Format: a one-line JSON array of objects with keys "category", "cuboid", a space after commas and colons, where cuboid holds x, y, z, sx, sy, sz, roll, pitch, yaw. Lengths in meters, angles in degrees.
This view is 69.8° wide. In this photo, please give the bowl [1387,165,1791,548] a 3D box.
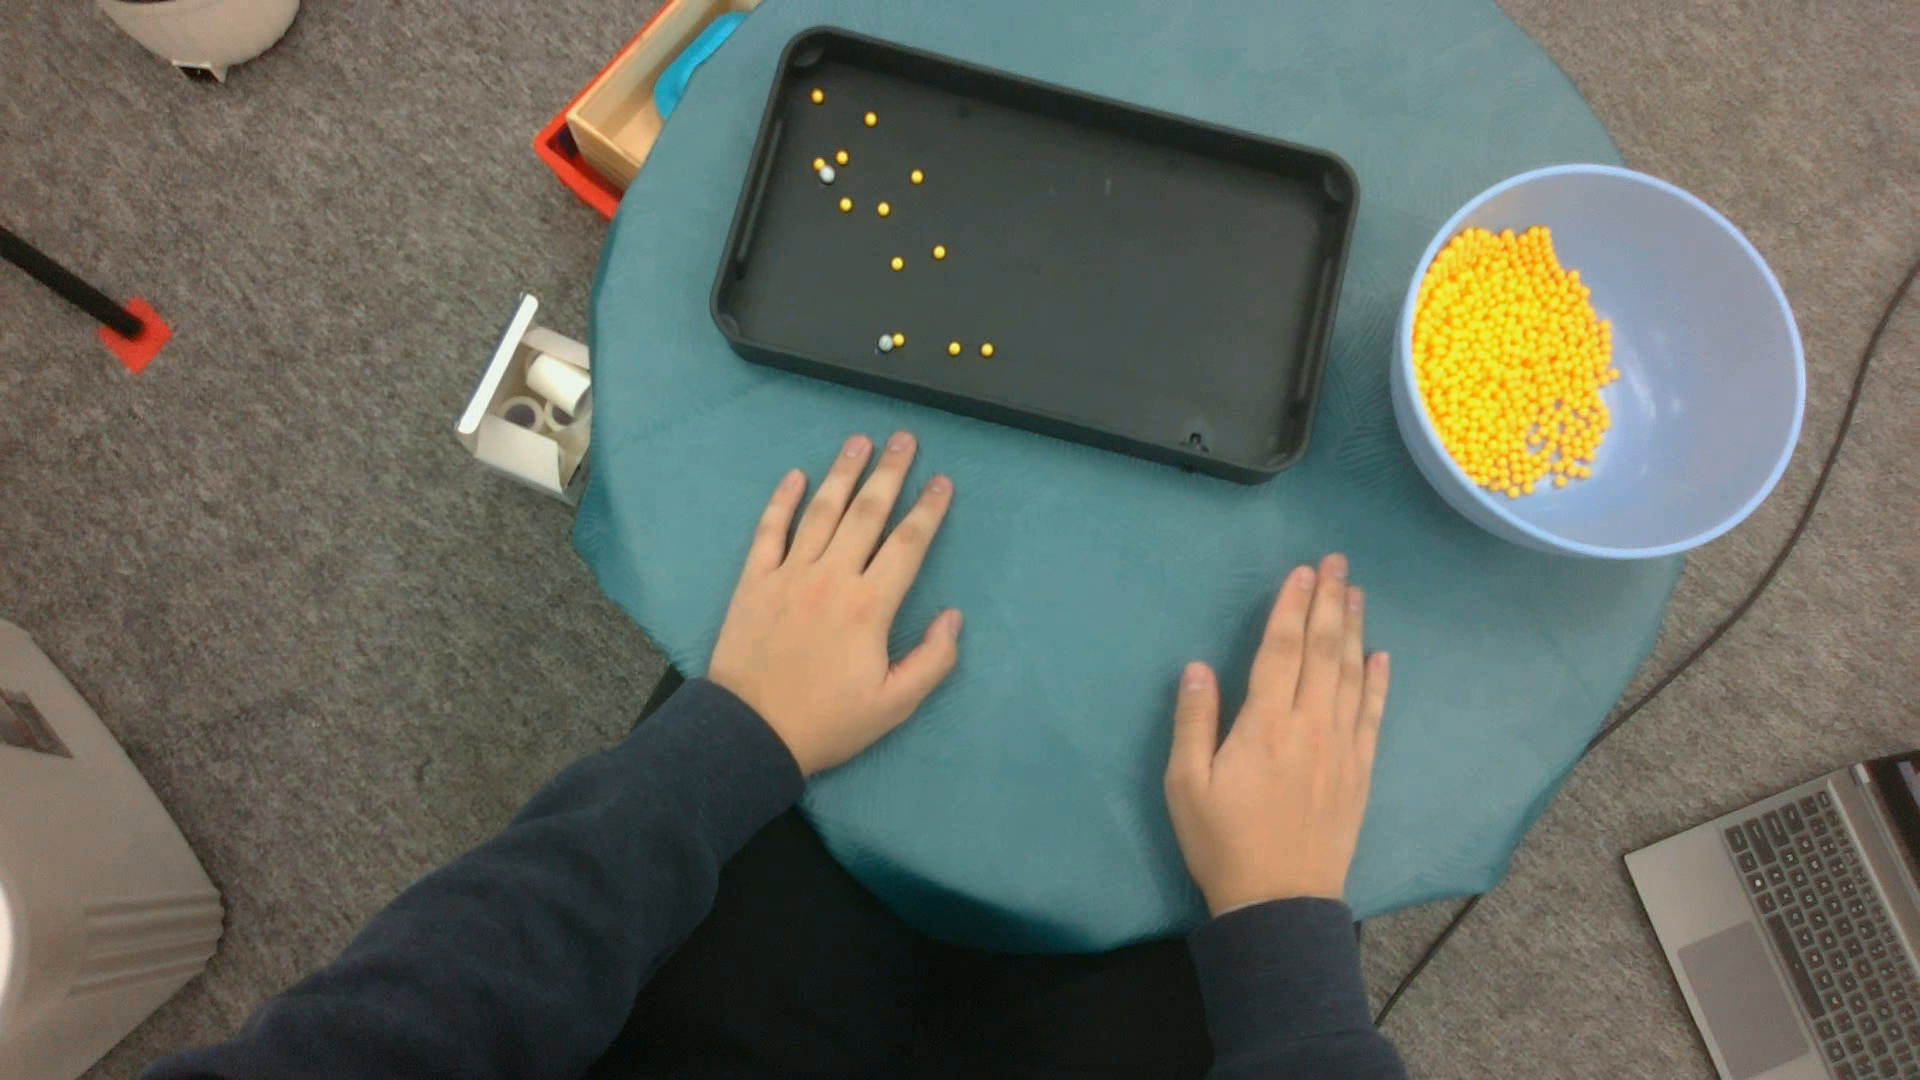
[{"category": "bowl", "cuboid": [0.307, -0.083, 0.714, 0.196, 0.095, 0.197, 1, 77, -3]}]

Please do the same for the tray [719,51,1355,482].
[{"category": "tray", "cuboid": [0.044, -0.148, 0.748, 0.318, 0.037, 0.184, 13, 77, 1]}]
